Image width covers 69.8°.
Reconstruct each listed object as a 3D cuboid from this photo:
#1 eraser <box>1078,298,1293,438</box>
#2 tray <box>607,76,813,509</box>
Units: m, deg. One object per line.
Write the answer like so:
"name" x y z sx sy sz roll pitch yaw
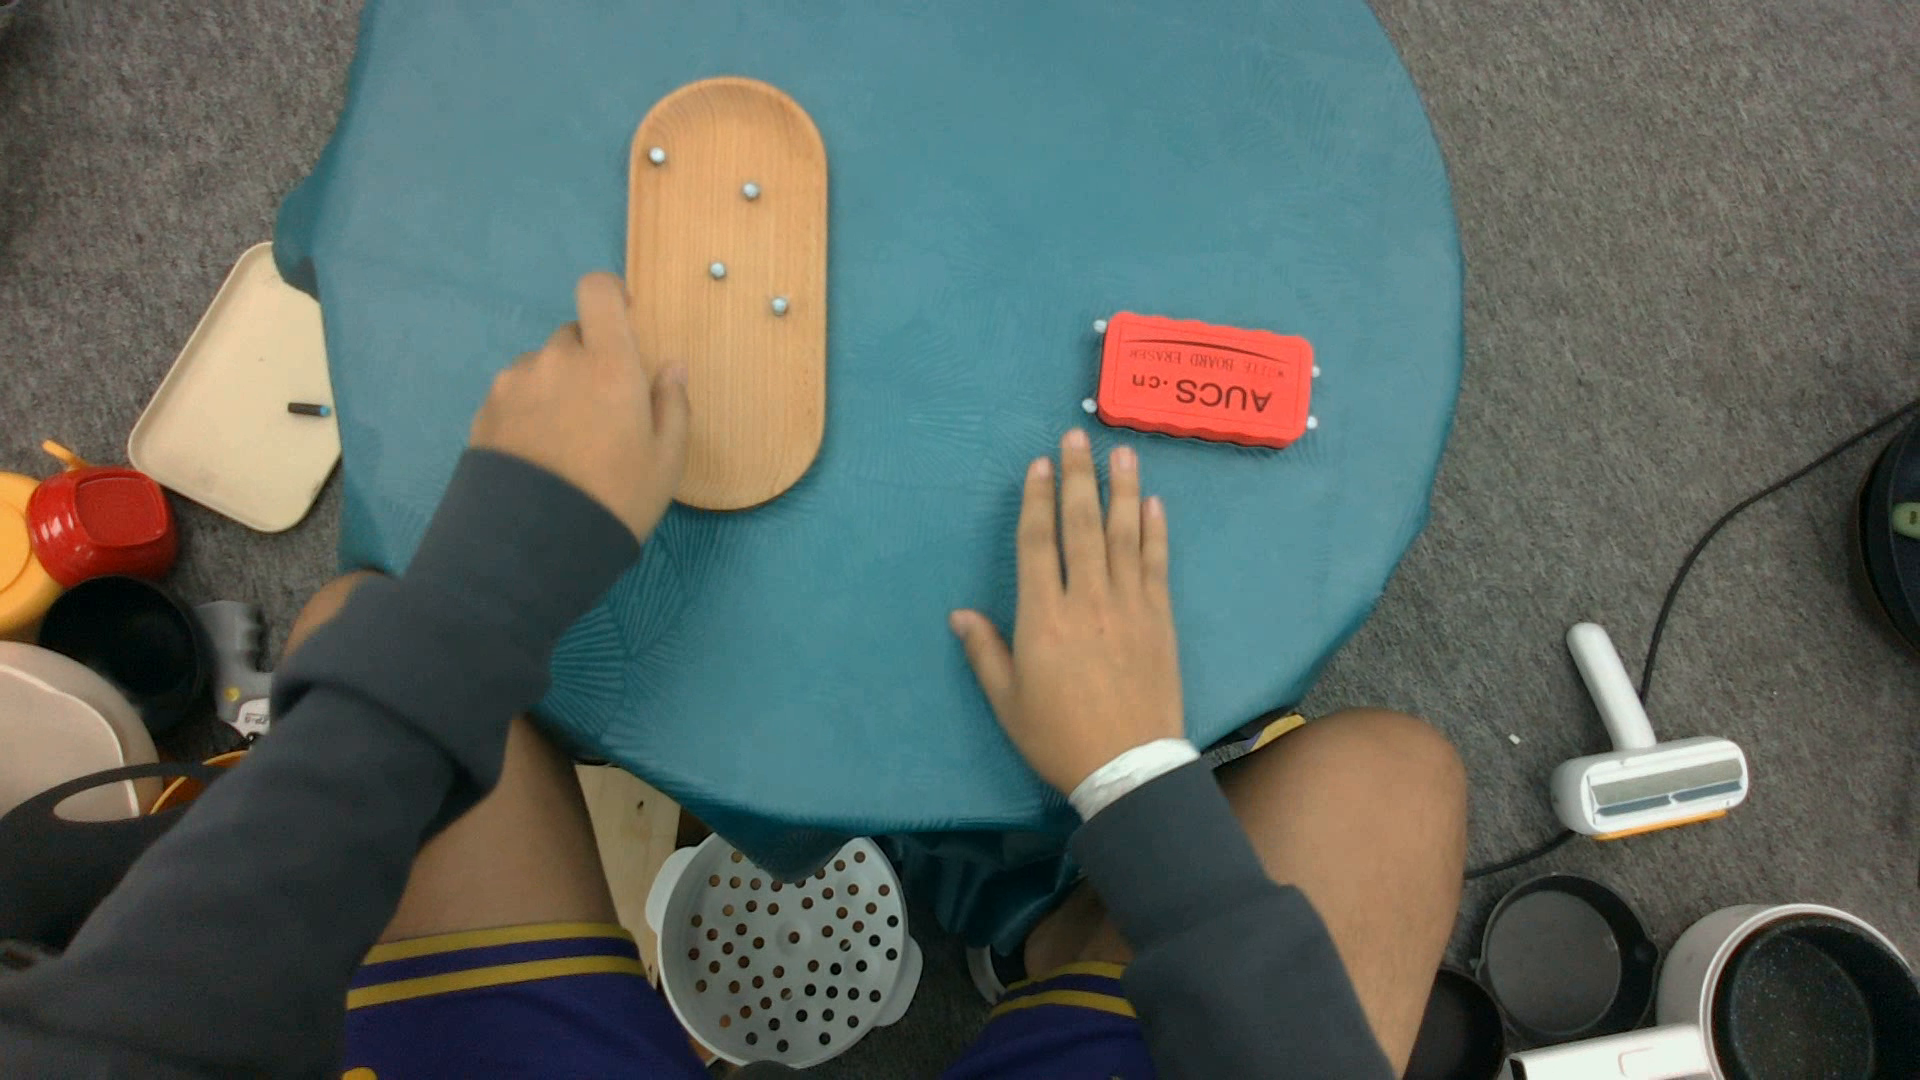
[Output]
"eraser" 0.117 -0.089 0.716 0.108 0.023 0.059 8 71 -4
"tray" -0.127 -0.129 0.704 0.102 0.020 0.231 -1 80 -5
